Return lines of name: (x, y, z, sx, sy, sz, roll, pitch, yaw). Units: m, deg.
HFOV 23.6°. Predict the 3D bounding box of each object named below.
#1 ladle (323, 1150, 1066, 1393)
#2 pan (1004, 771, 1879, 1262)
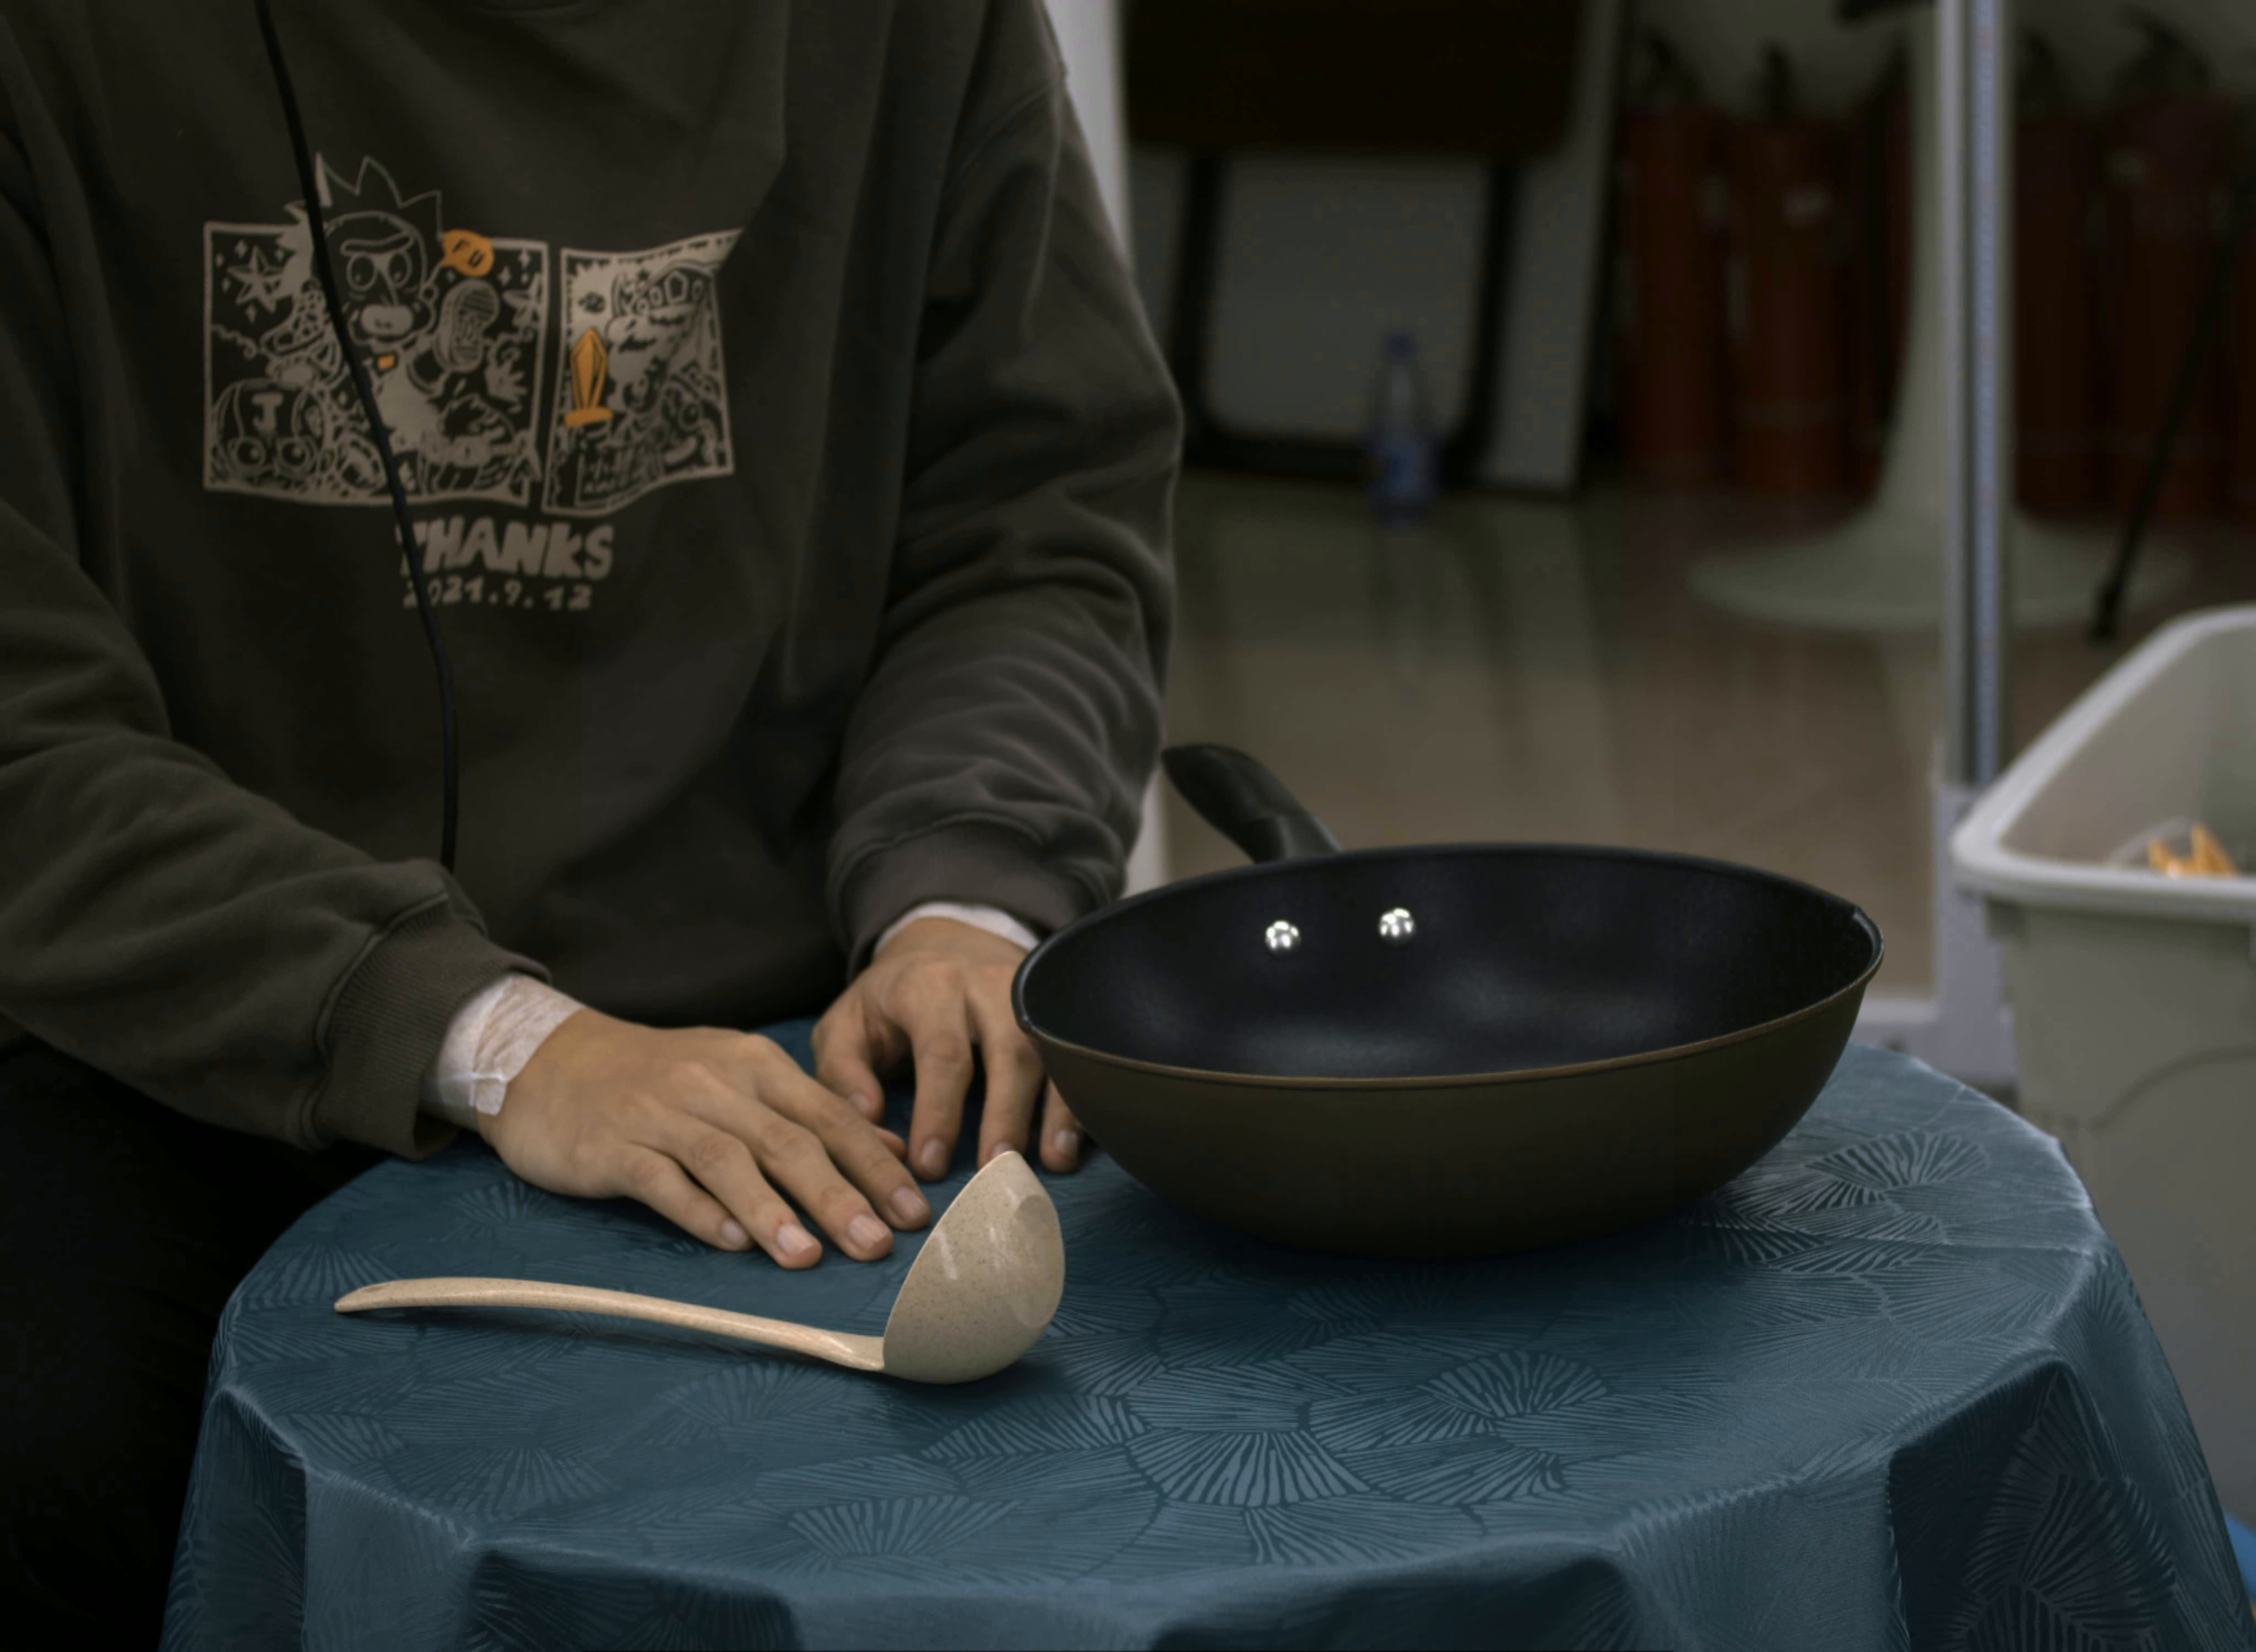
ladle: (-0.139, 0.126, 1.642, 0.255, 0.073, 0.071, 4, 17, 25)
pan: (0.081, 0.061, 1.826, 0.283, 0.088, 0.466, -7, 13, -12)
